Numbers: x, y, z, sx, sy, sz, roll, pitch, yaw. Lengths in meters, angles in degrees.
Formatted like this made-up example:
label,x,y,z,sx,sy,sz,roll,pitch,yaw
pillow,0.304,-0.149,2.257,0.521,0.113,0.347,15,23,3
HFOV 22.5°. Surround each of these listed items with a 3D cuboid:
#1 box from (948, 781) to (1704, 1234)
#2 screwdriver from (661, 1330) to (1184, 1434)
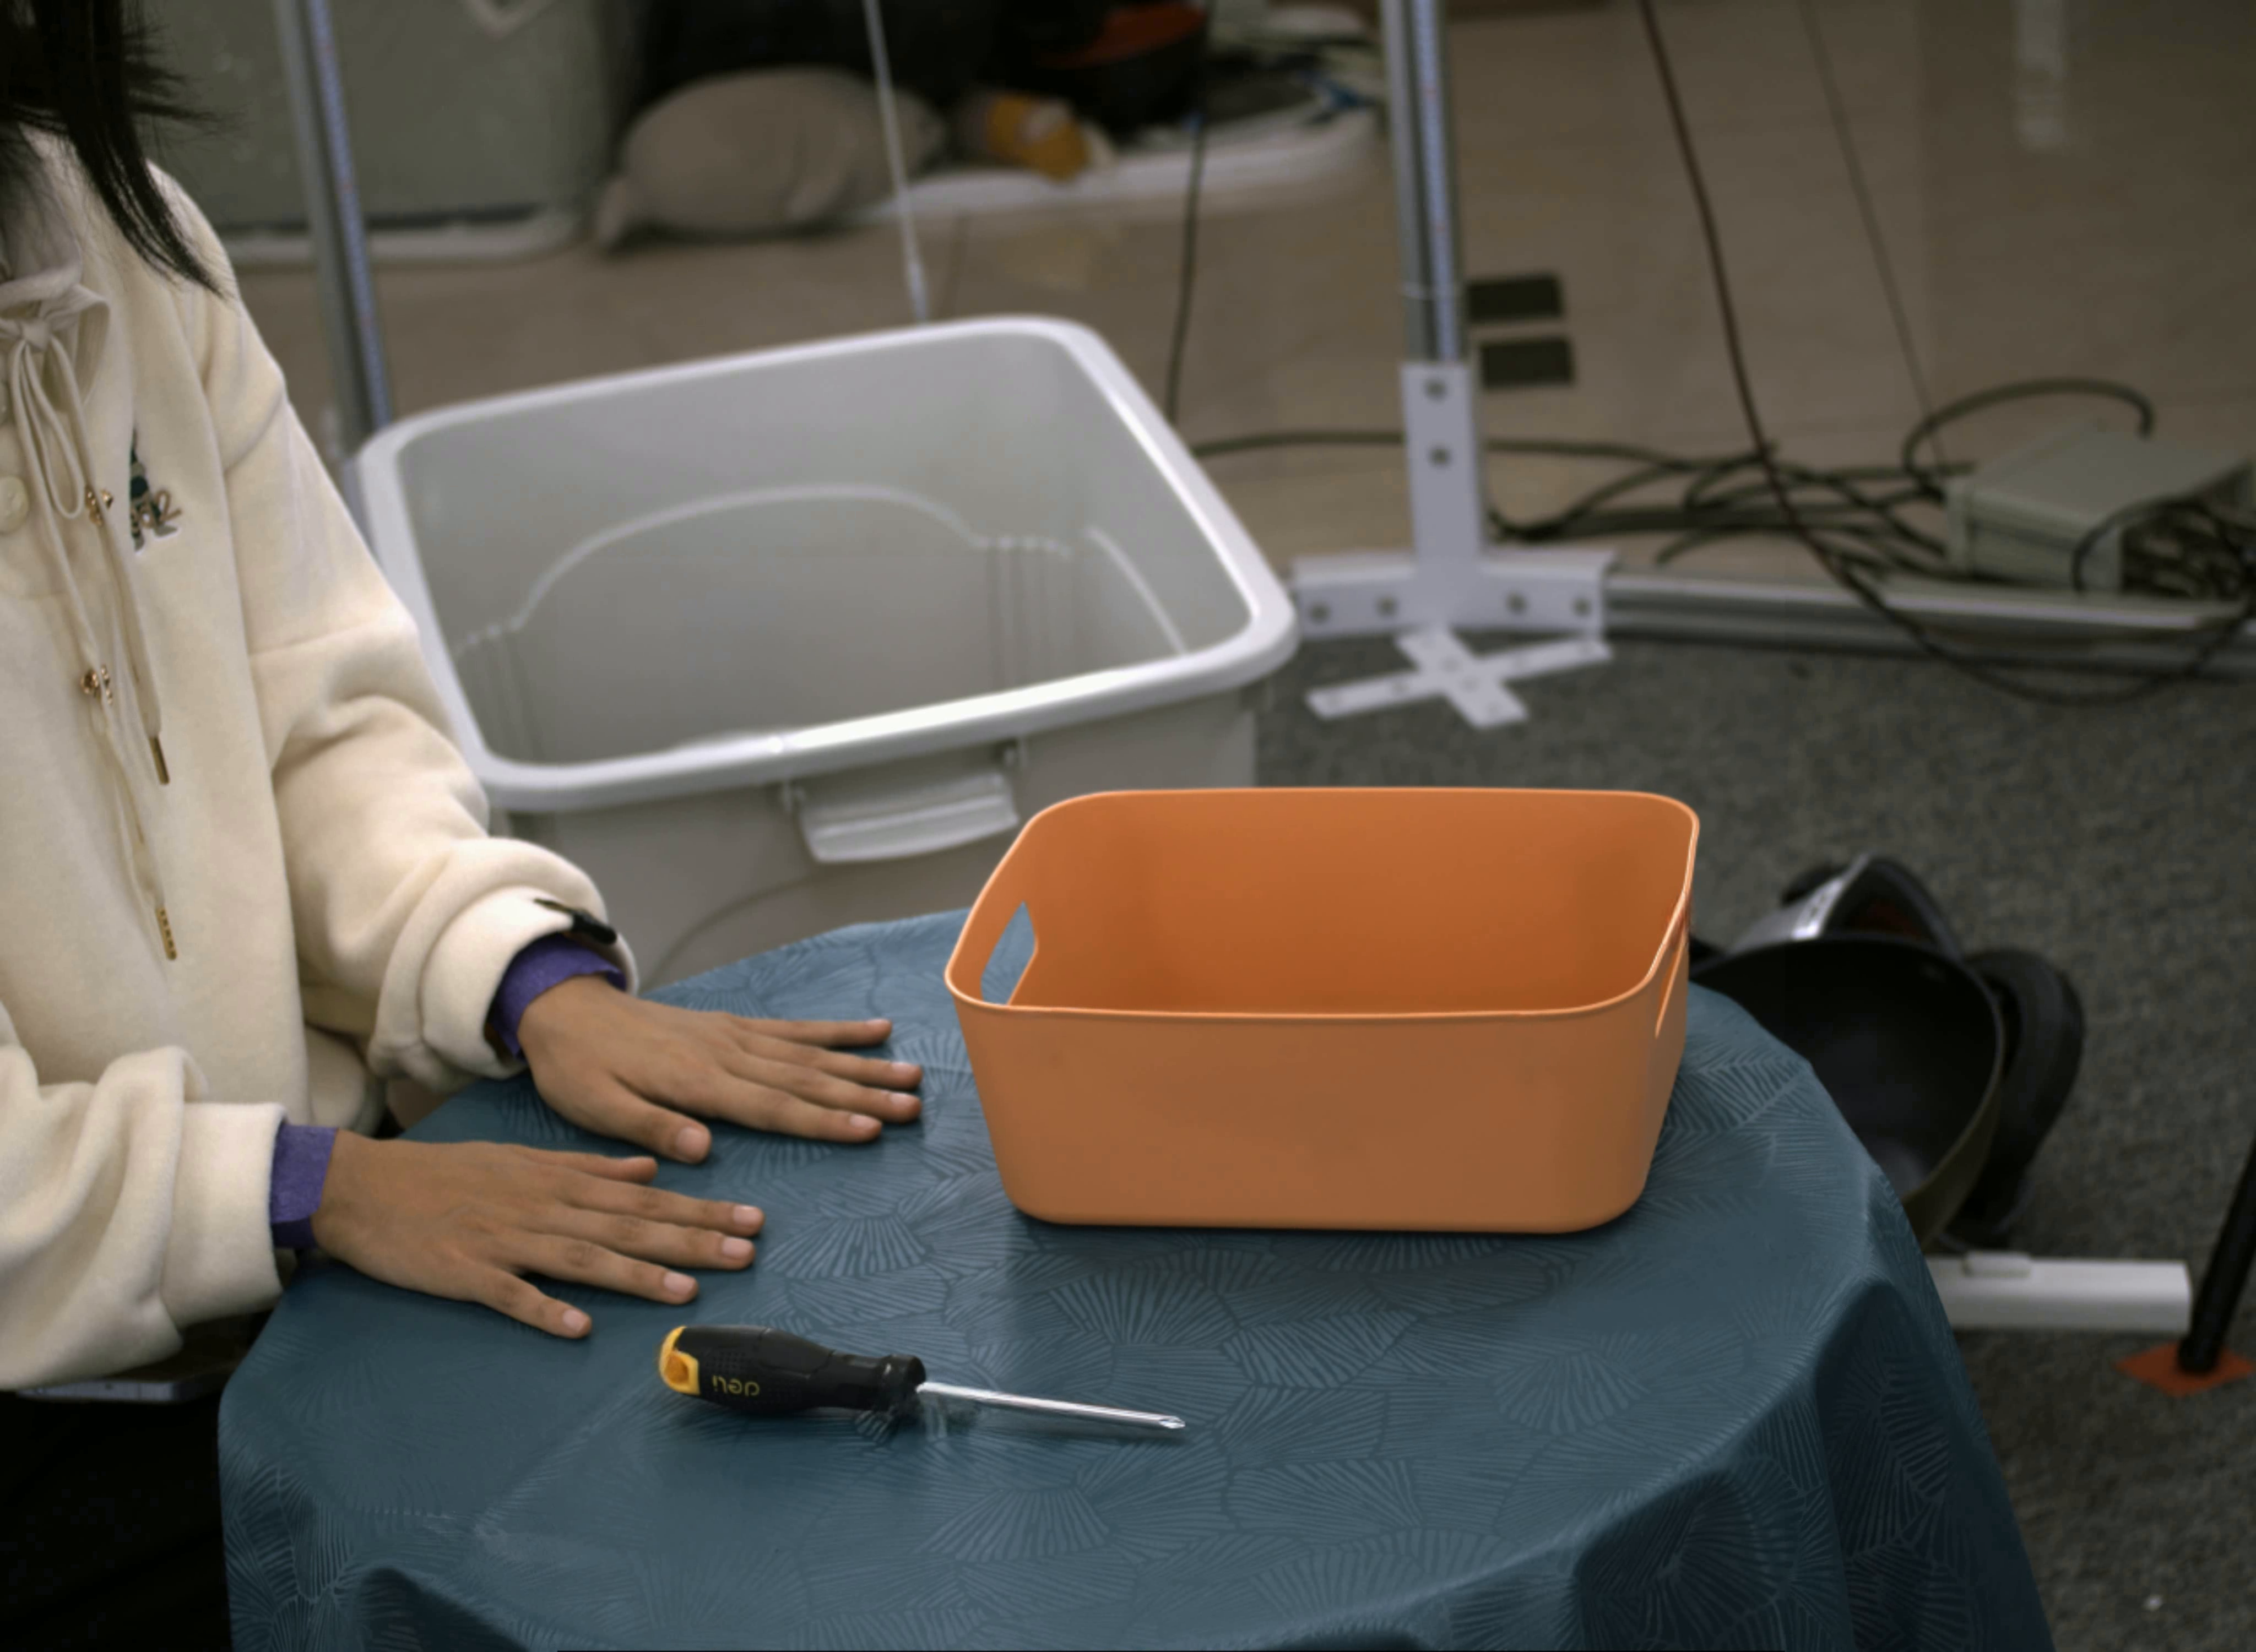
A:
label,x,y,z,sx,sy,sz,roll,pitch,yaw
box,0.081,0.069,2.152,0.272,0.104,0.196,0,27,14
screwdriver,-0.074,0.203,2.005,0.195,0.032,0.031,8,28,20
